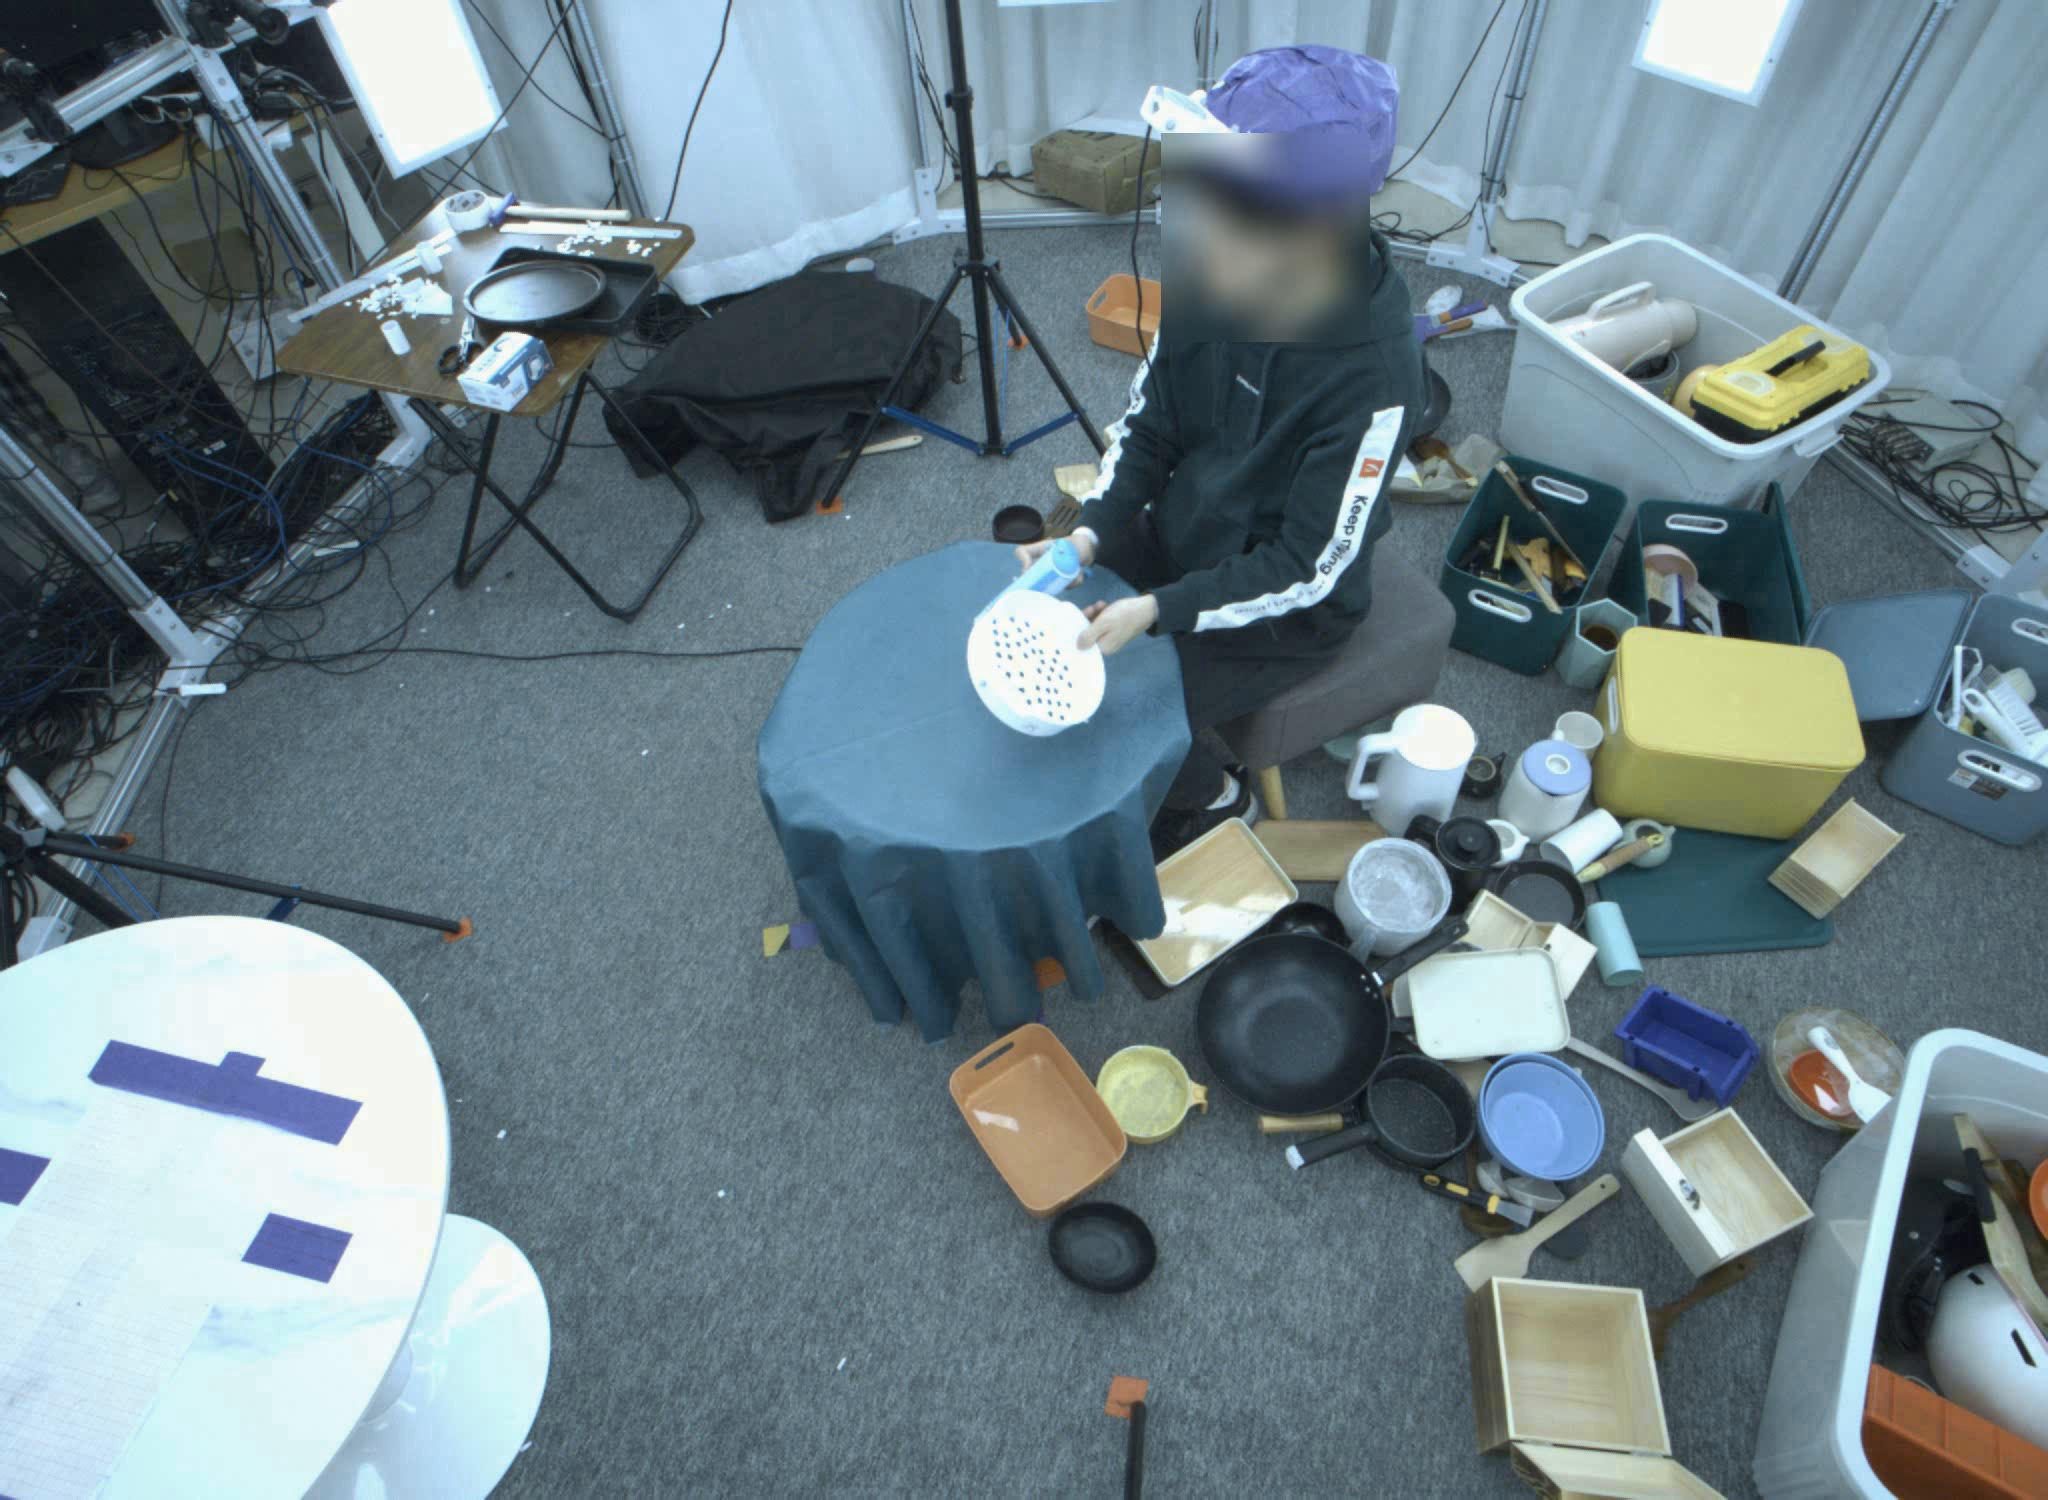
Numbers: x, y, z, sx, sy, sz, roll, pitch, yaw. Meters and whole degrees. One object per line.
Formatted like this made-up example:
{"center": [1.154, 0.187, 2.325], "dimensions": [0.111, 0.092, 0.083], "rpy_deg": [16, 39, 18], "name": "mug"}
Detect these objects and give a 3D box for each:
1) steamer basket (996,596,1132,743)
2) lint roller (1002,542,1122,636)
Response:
{"center": [0.052, -0.108, 1.681], "dimensions": [0.204, 0.068, 0.232], "rpy_deg": [51, 46, -12], "name": "steamer basket"}
{"center": [0.074, -0.235, 1.793], "dimensions": [0.068, 0.226, 0.182], "rpy_deg": [52, 41, 2], "name": "lint roller"}
